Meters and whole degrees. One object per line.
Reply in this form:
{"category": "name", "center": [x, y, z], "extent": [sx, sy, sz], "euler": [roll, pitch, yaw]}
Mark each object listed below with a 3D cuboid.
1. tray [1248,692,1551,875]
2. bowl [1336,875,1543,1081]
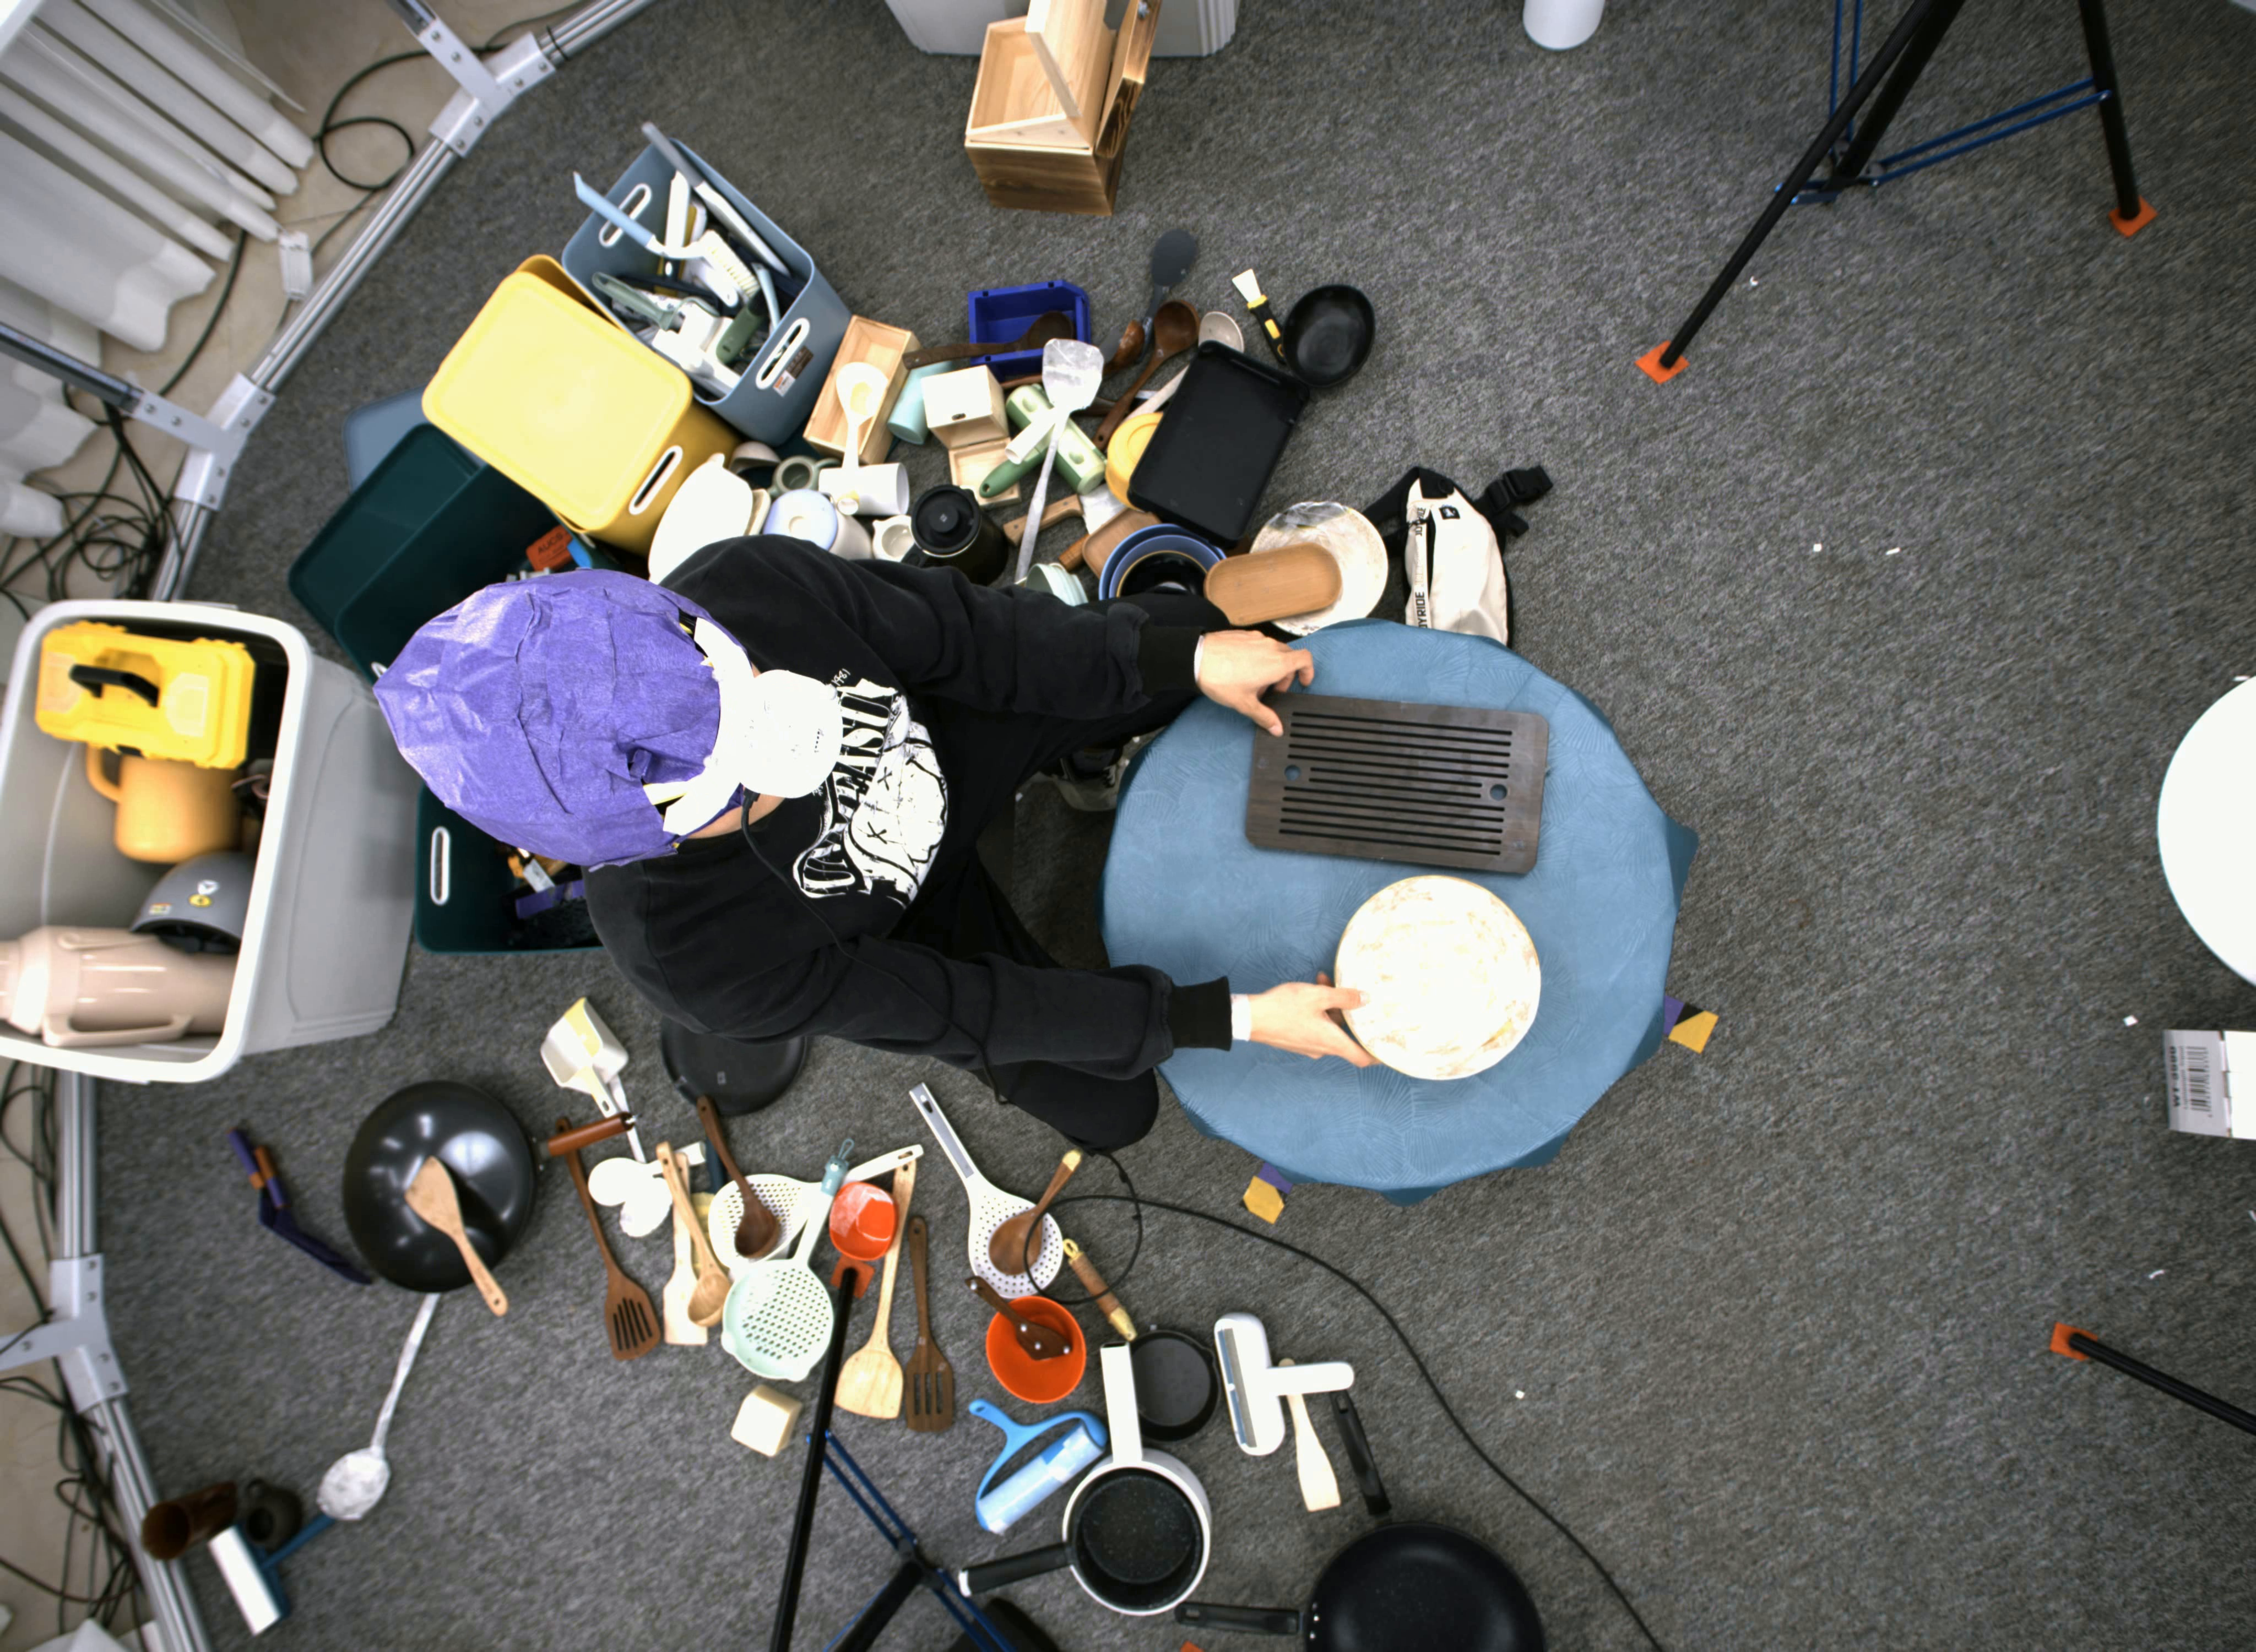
{"category": "tray", "center": [0.286, -0.048, 1.461], "extent": [0.307, 0.018, 0.169], "euler": [6, 87, 11]}
{"category": "bowl", "center": [0.313, 0.149, 1.404], "extent": [0.215, 0.094, 0.214], "euler": [-1, 87, 11]}
